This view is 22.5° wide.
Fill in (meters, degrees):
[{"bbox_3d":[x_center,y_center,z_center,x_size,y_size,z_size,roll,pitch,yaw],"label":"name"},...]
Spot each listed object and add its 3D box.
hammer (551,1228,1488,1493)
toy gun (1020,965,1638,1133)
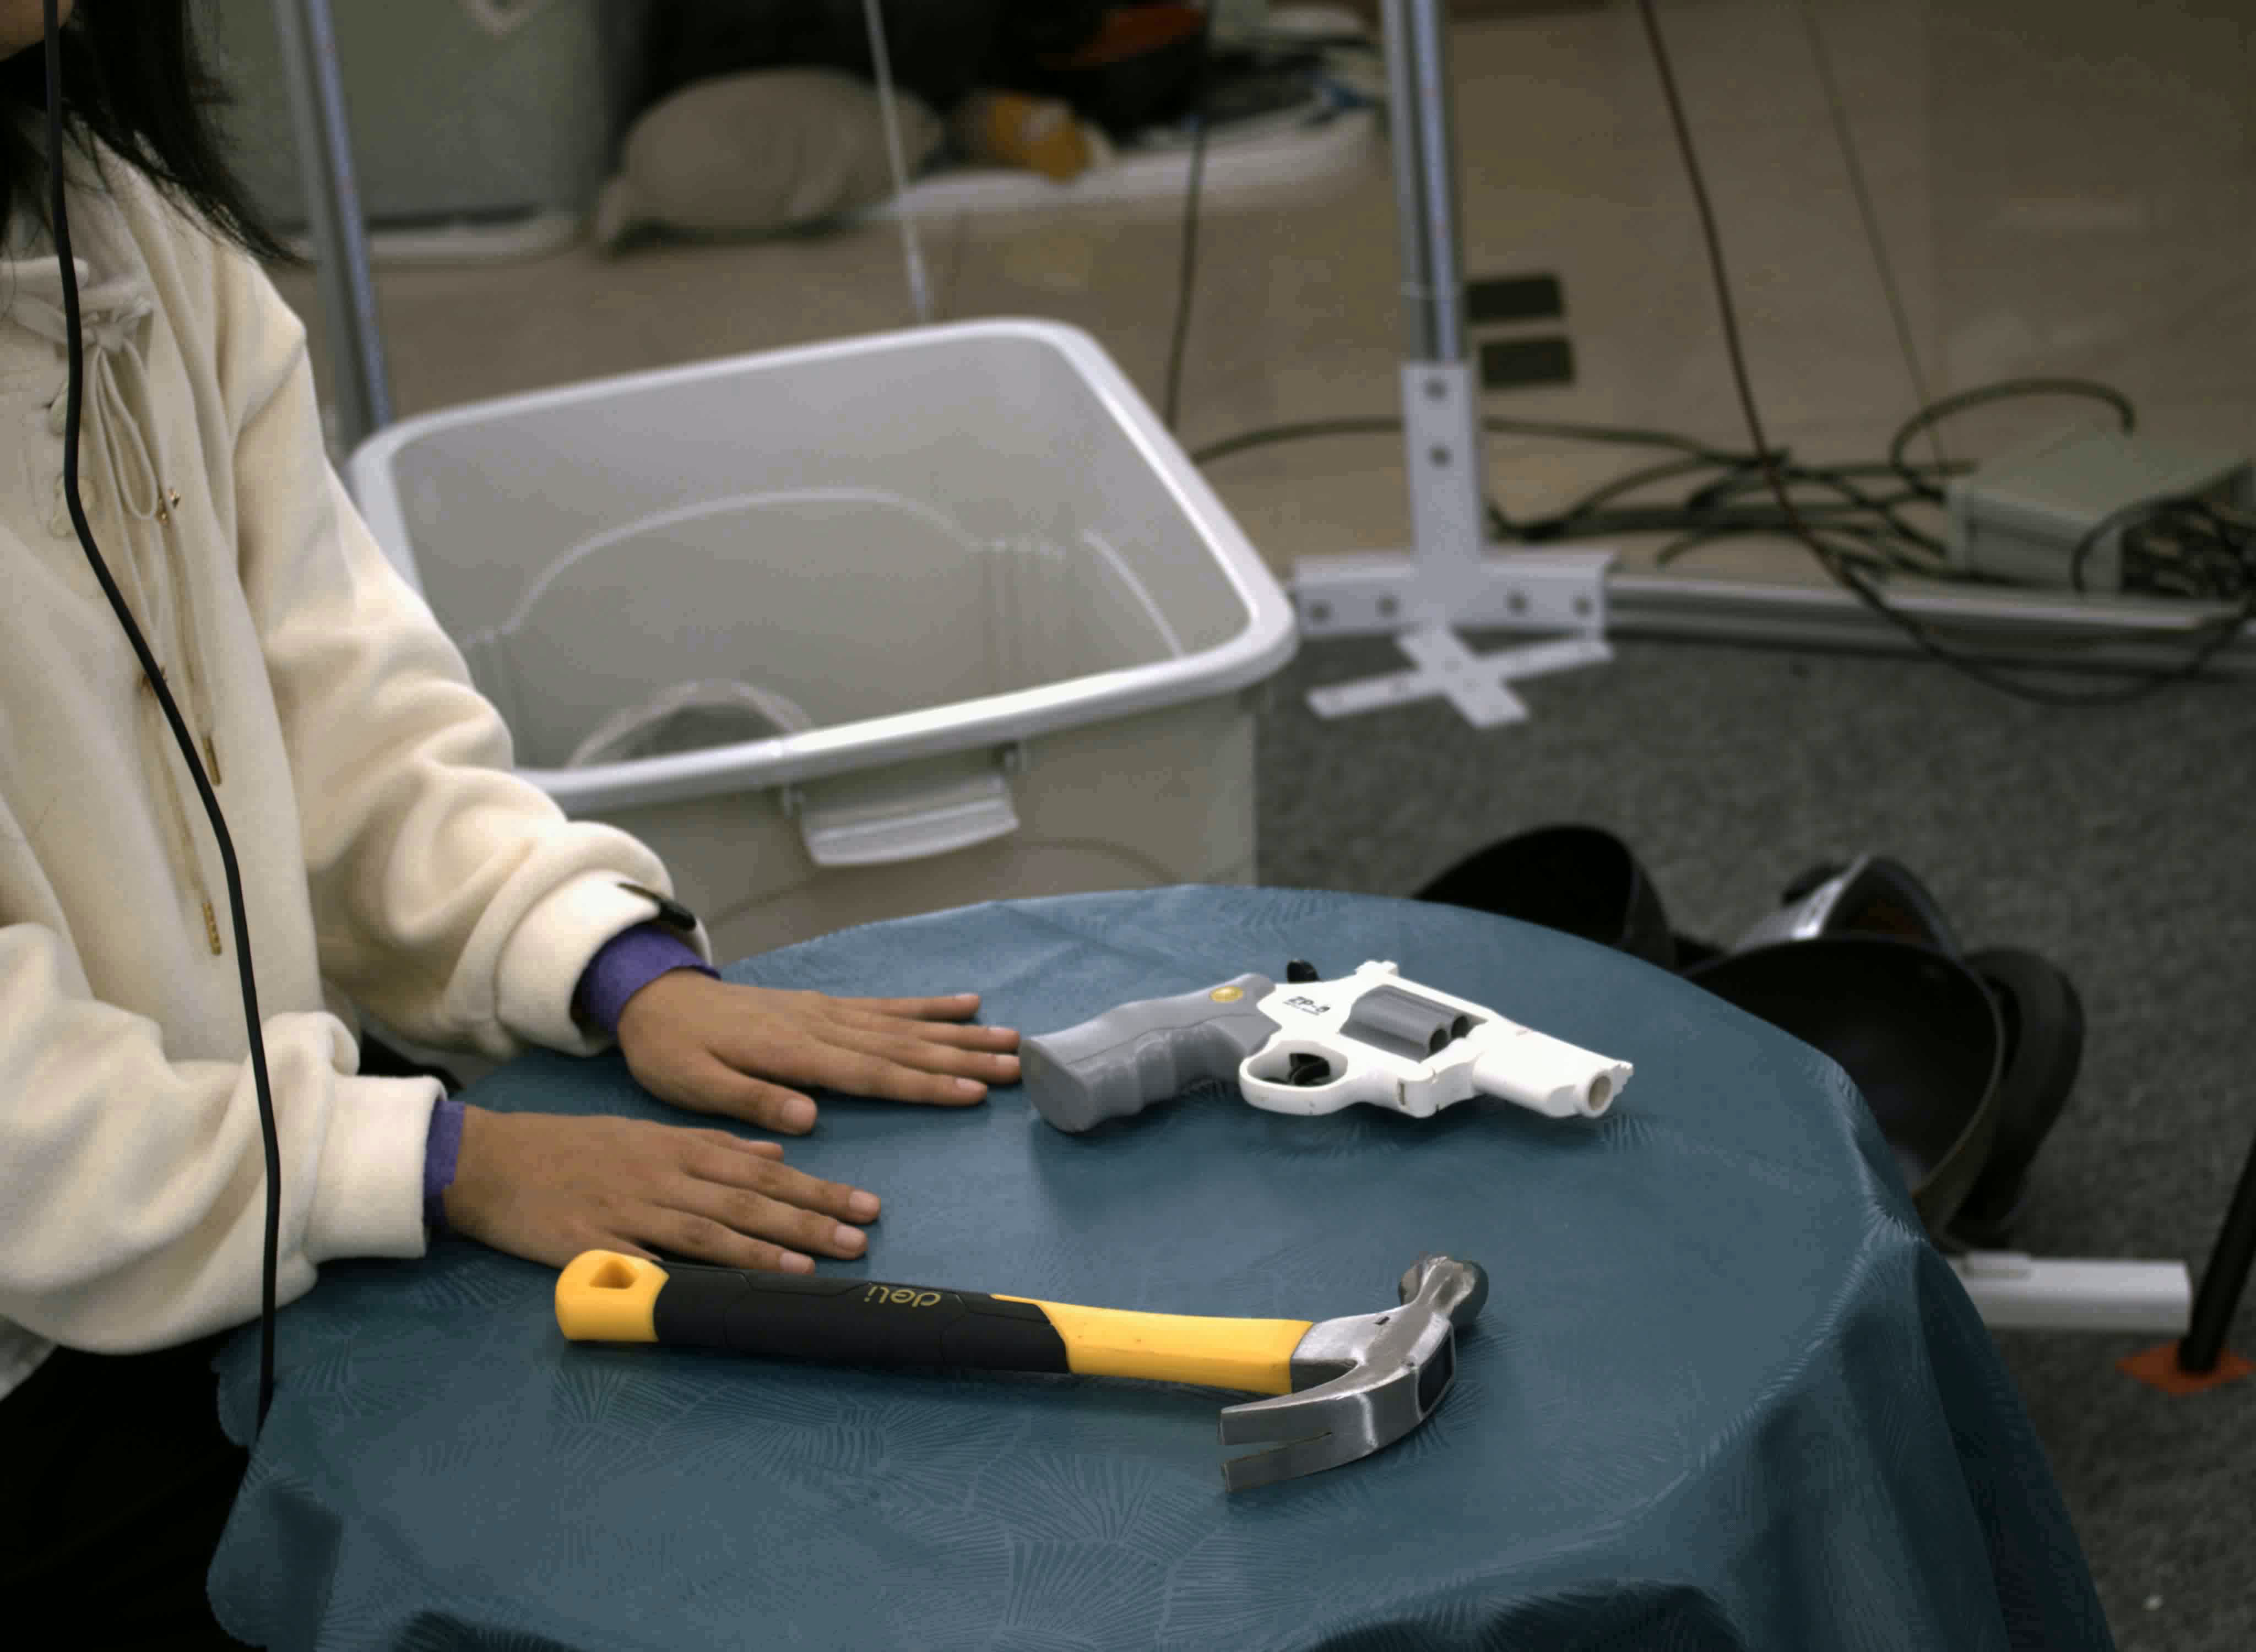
[{"bbox_3d":[-0.050,0.177,2.032,0.337,0.033,0.129,5,29,20],"label":"hammer"},{"bbox_3d":[0.074,0.094,2.181,0.207,0.039,0.140,17,33,40],"label":"toy gun"}]
